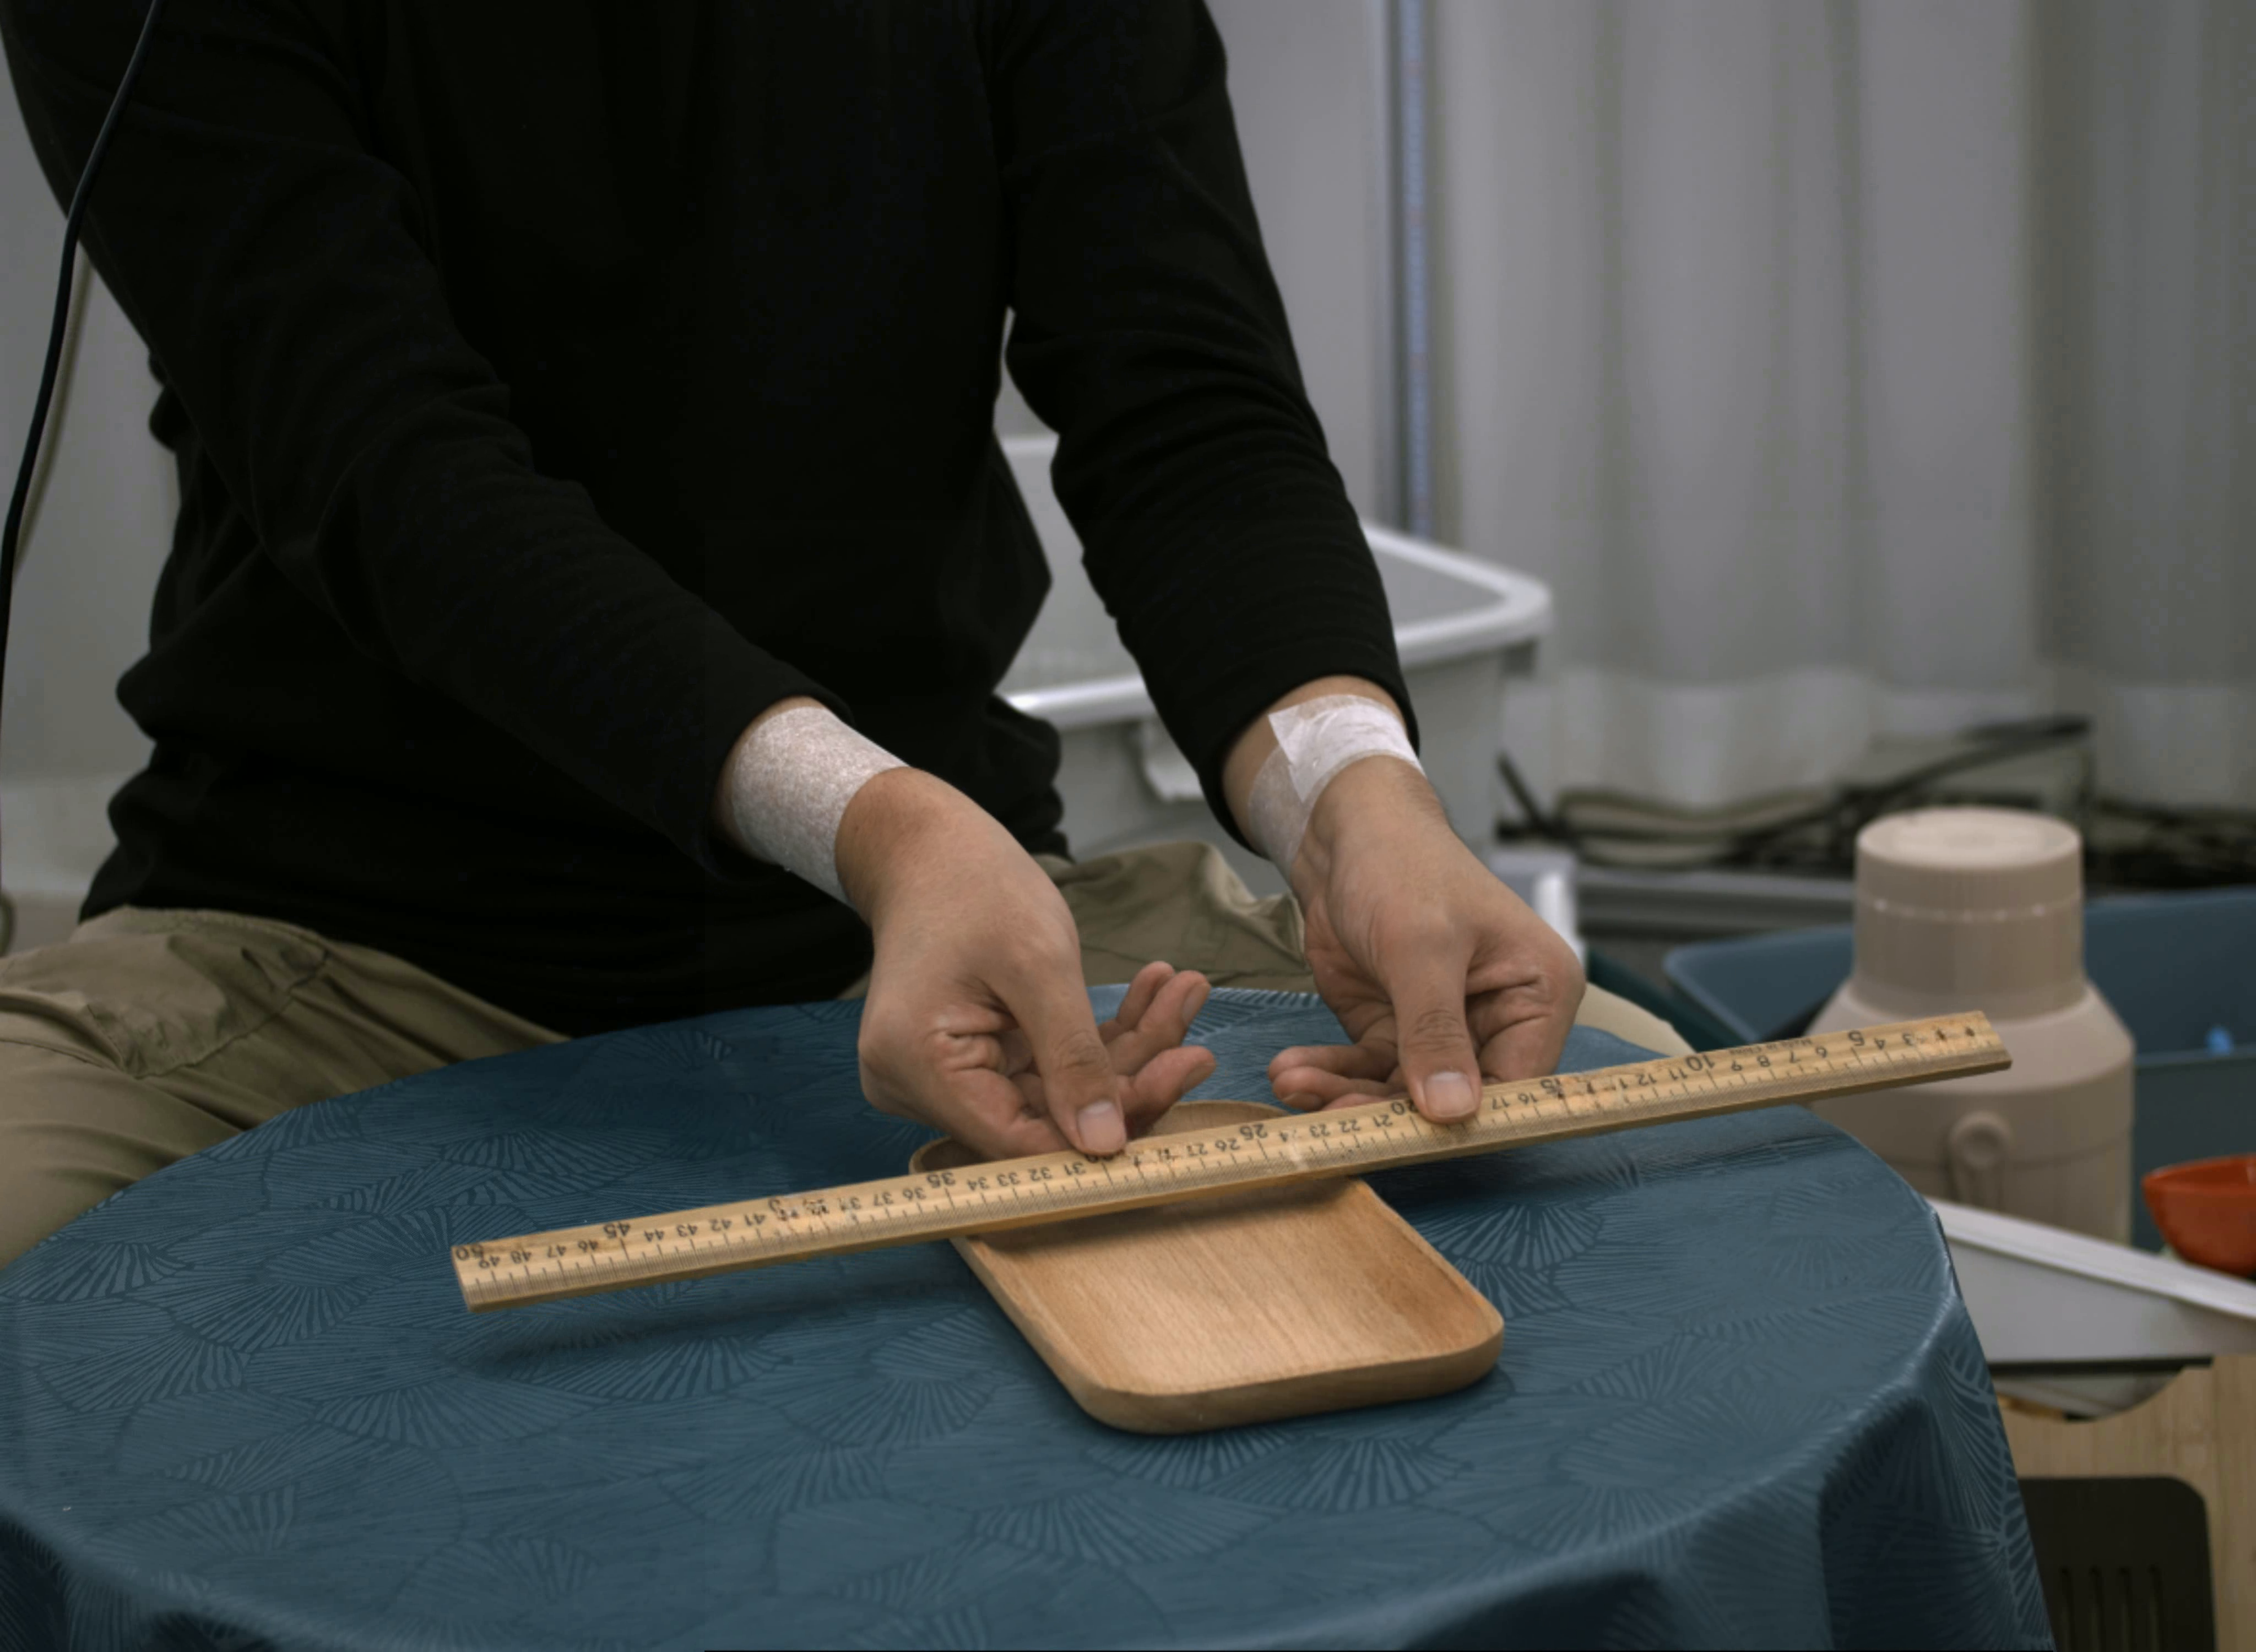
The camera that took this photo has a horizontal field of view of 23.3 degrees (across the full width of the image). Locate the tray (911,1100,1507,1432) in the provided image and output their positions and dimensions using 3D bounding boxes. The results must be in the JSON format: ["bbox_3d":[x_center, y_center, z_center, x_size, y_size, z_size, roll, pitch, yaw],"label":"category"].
[{"bbox_3d":[0.020,0.128,1.628,0.130,0.023,0.252,-4,14,-14],"label":"tray"}]

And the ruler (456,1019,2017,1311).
[{"bbox_3d":[0.041,0.101,1.667,0.498,0.006,0.027,-7,42,-17],"label":"ruler"}]
